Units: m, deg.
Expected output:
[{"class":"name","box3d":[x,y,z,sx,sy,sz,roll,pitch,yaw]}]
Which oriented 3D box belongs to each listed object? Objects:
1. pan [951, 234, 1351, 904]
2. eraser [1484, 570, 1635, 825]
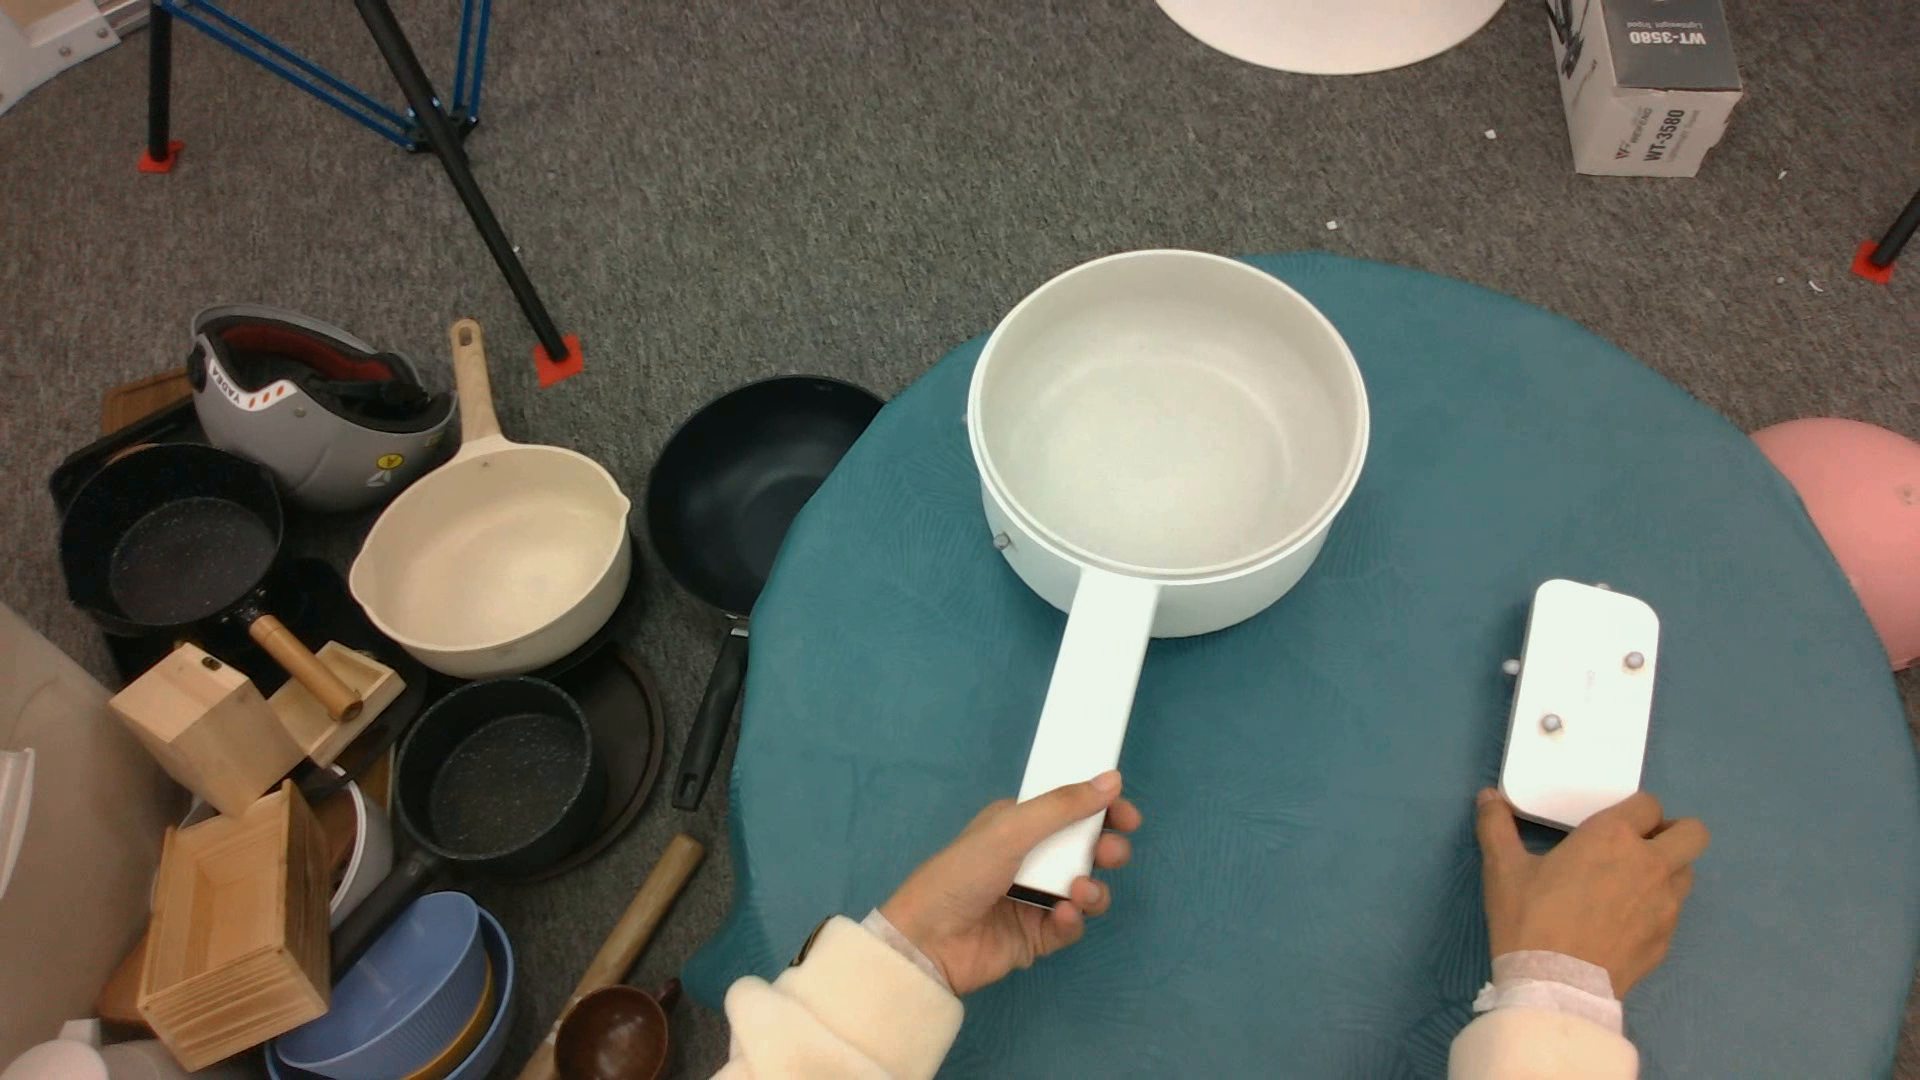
[{"class":"pan","box3d":[0.079,0.013,0.704,0.201,0.102,0.356,12,65,11]},{"class":"eraser","box3d":[0.302,0.077,0.697,0.063,0.034,0.132,13,63,14]}]
